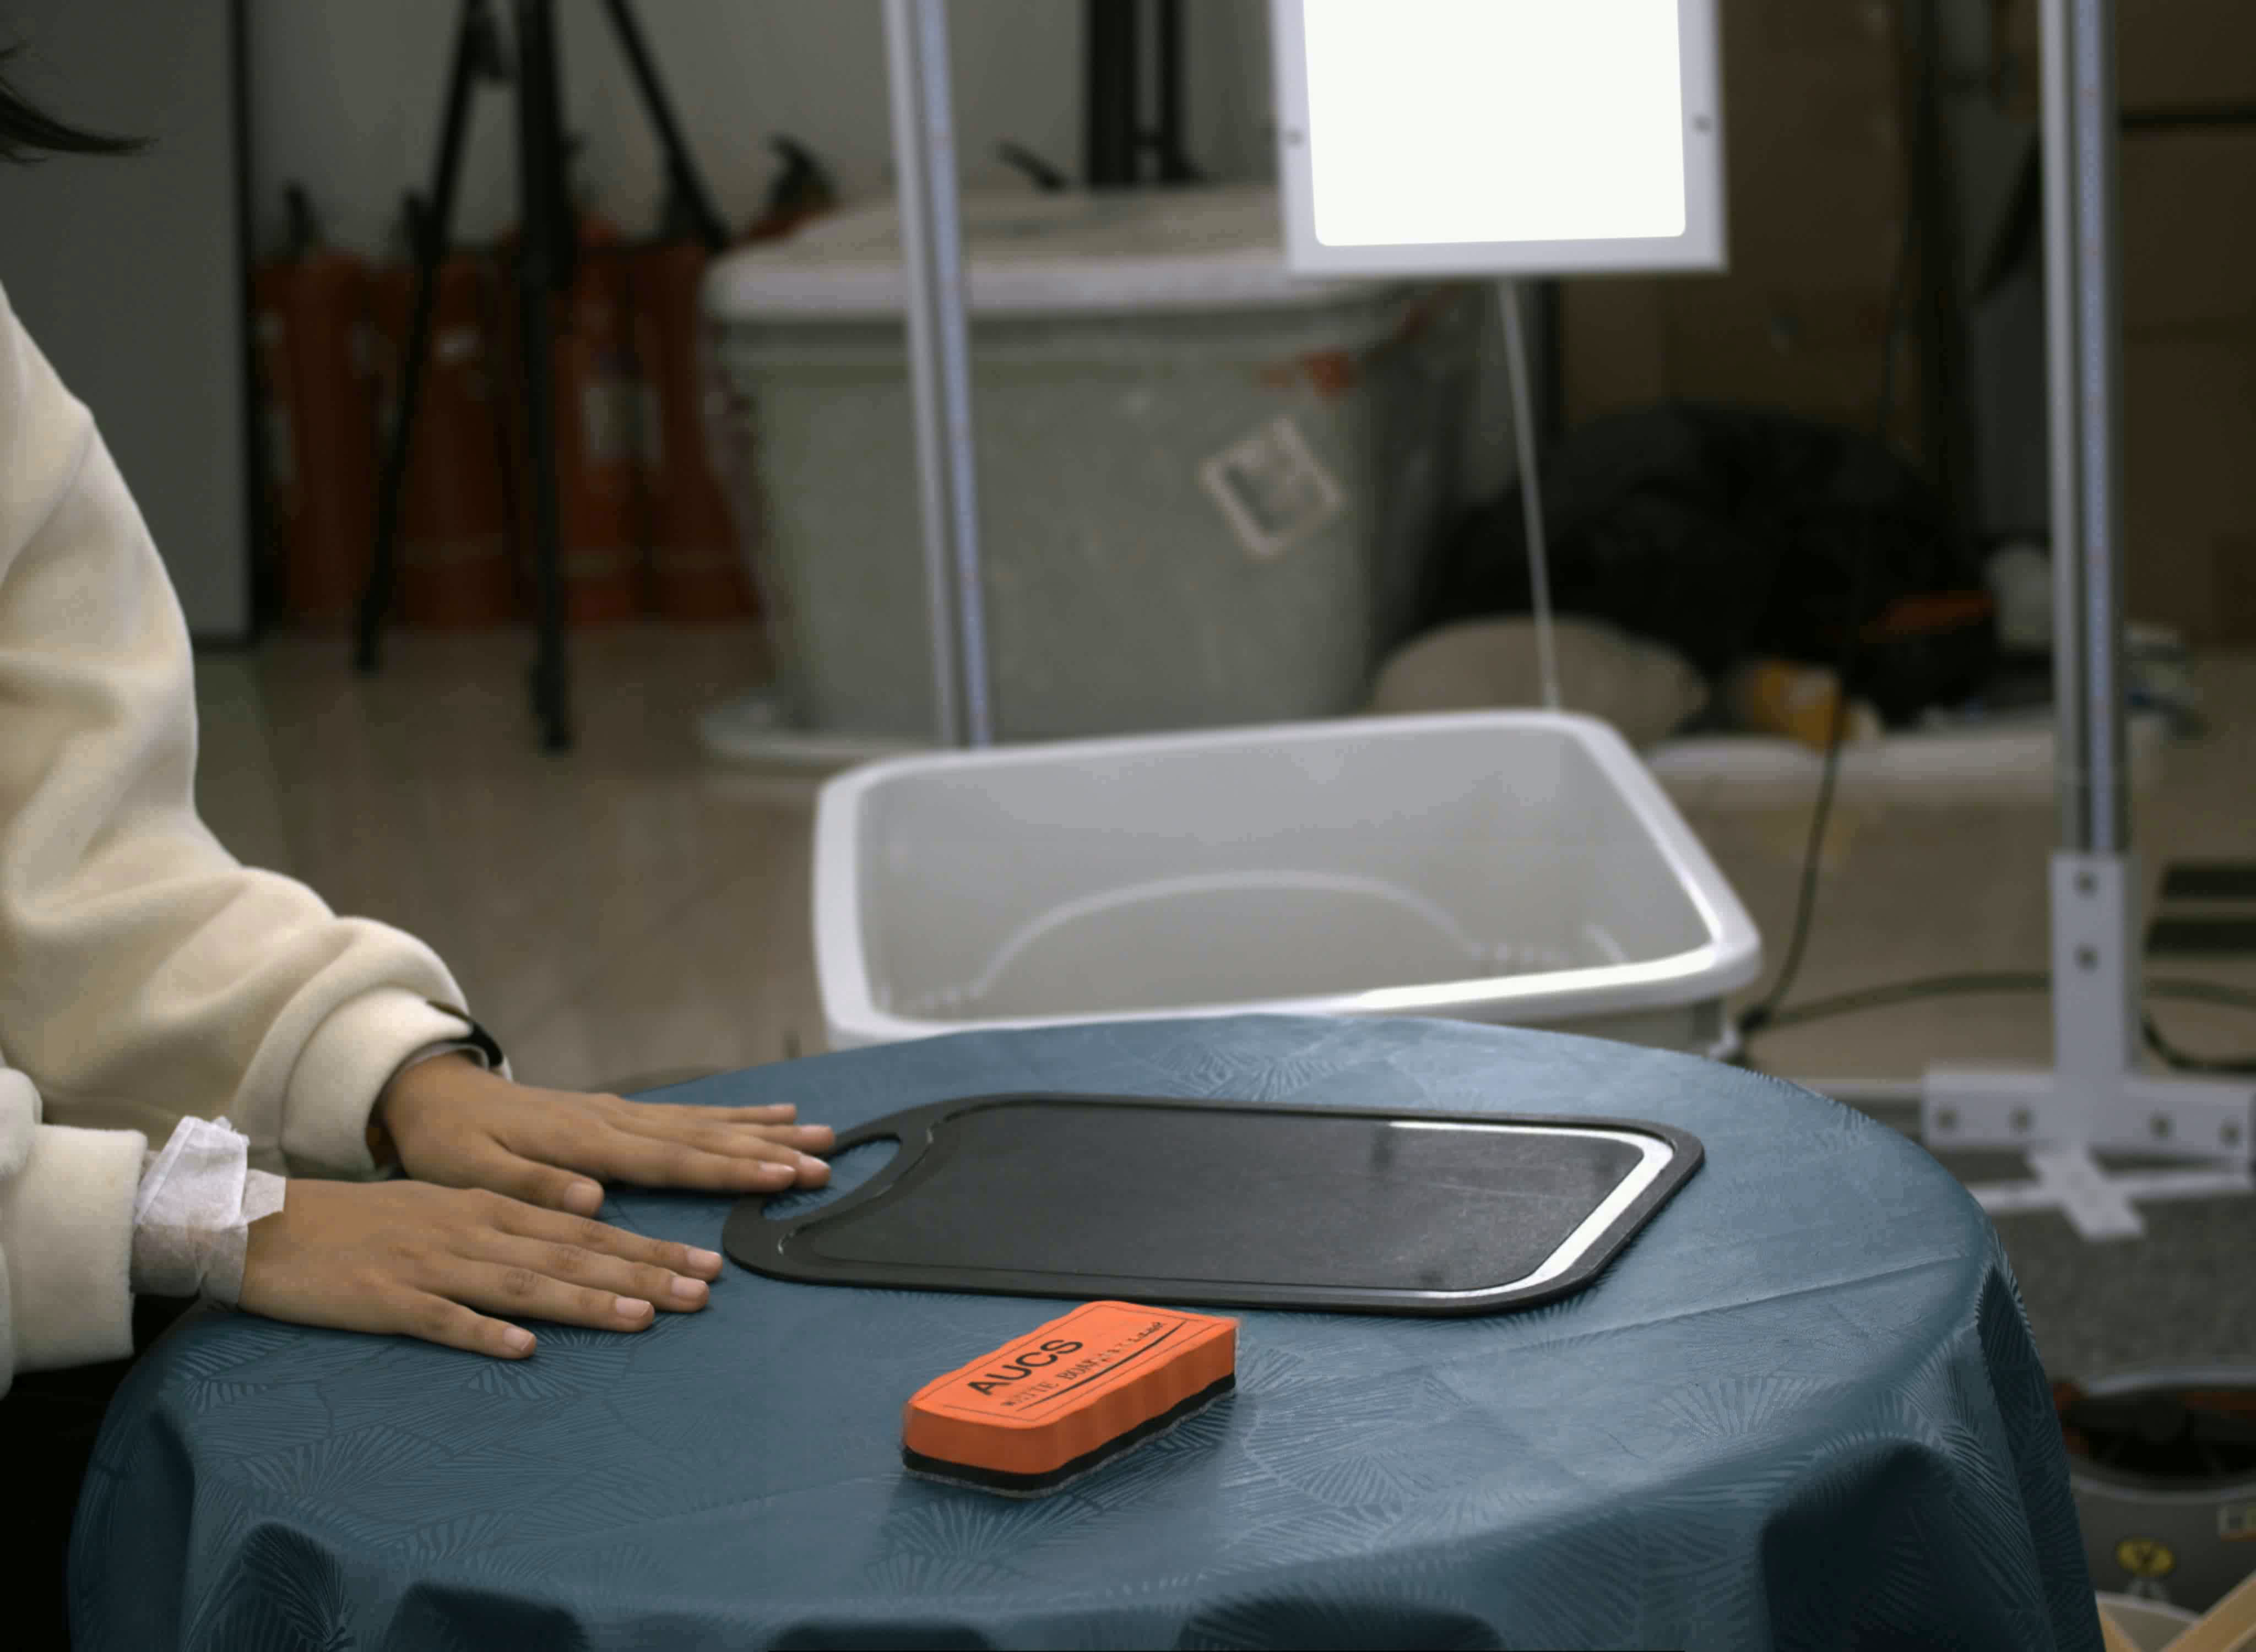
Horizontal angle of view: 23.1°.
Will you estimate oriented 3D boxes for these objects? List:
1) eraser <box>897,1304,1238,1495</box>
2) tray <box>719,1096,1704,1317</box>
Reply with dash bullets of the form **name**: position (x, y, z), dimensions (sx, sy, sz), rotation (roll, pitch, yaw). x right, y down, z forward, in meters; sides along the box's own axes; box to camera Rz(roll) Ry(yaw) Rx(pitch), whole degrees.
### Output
- **eraser**: position (-0.017, 0.173, 1.667), dimensions (0.060, 0.023, 0.105), rotation (6, 17, 38)
- **tray**: position (0.022, 0.126, 1.880), dimensions (0.330, 0.010, 0.207), rotation (1, 15, 24)
